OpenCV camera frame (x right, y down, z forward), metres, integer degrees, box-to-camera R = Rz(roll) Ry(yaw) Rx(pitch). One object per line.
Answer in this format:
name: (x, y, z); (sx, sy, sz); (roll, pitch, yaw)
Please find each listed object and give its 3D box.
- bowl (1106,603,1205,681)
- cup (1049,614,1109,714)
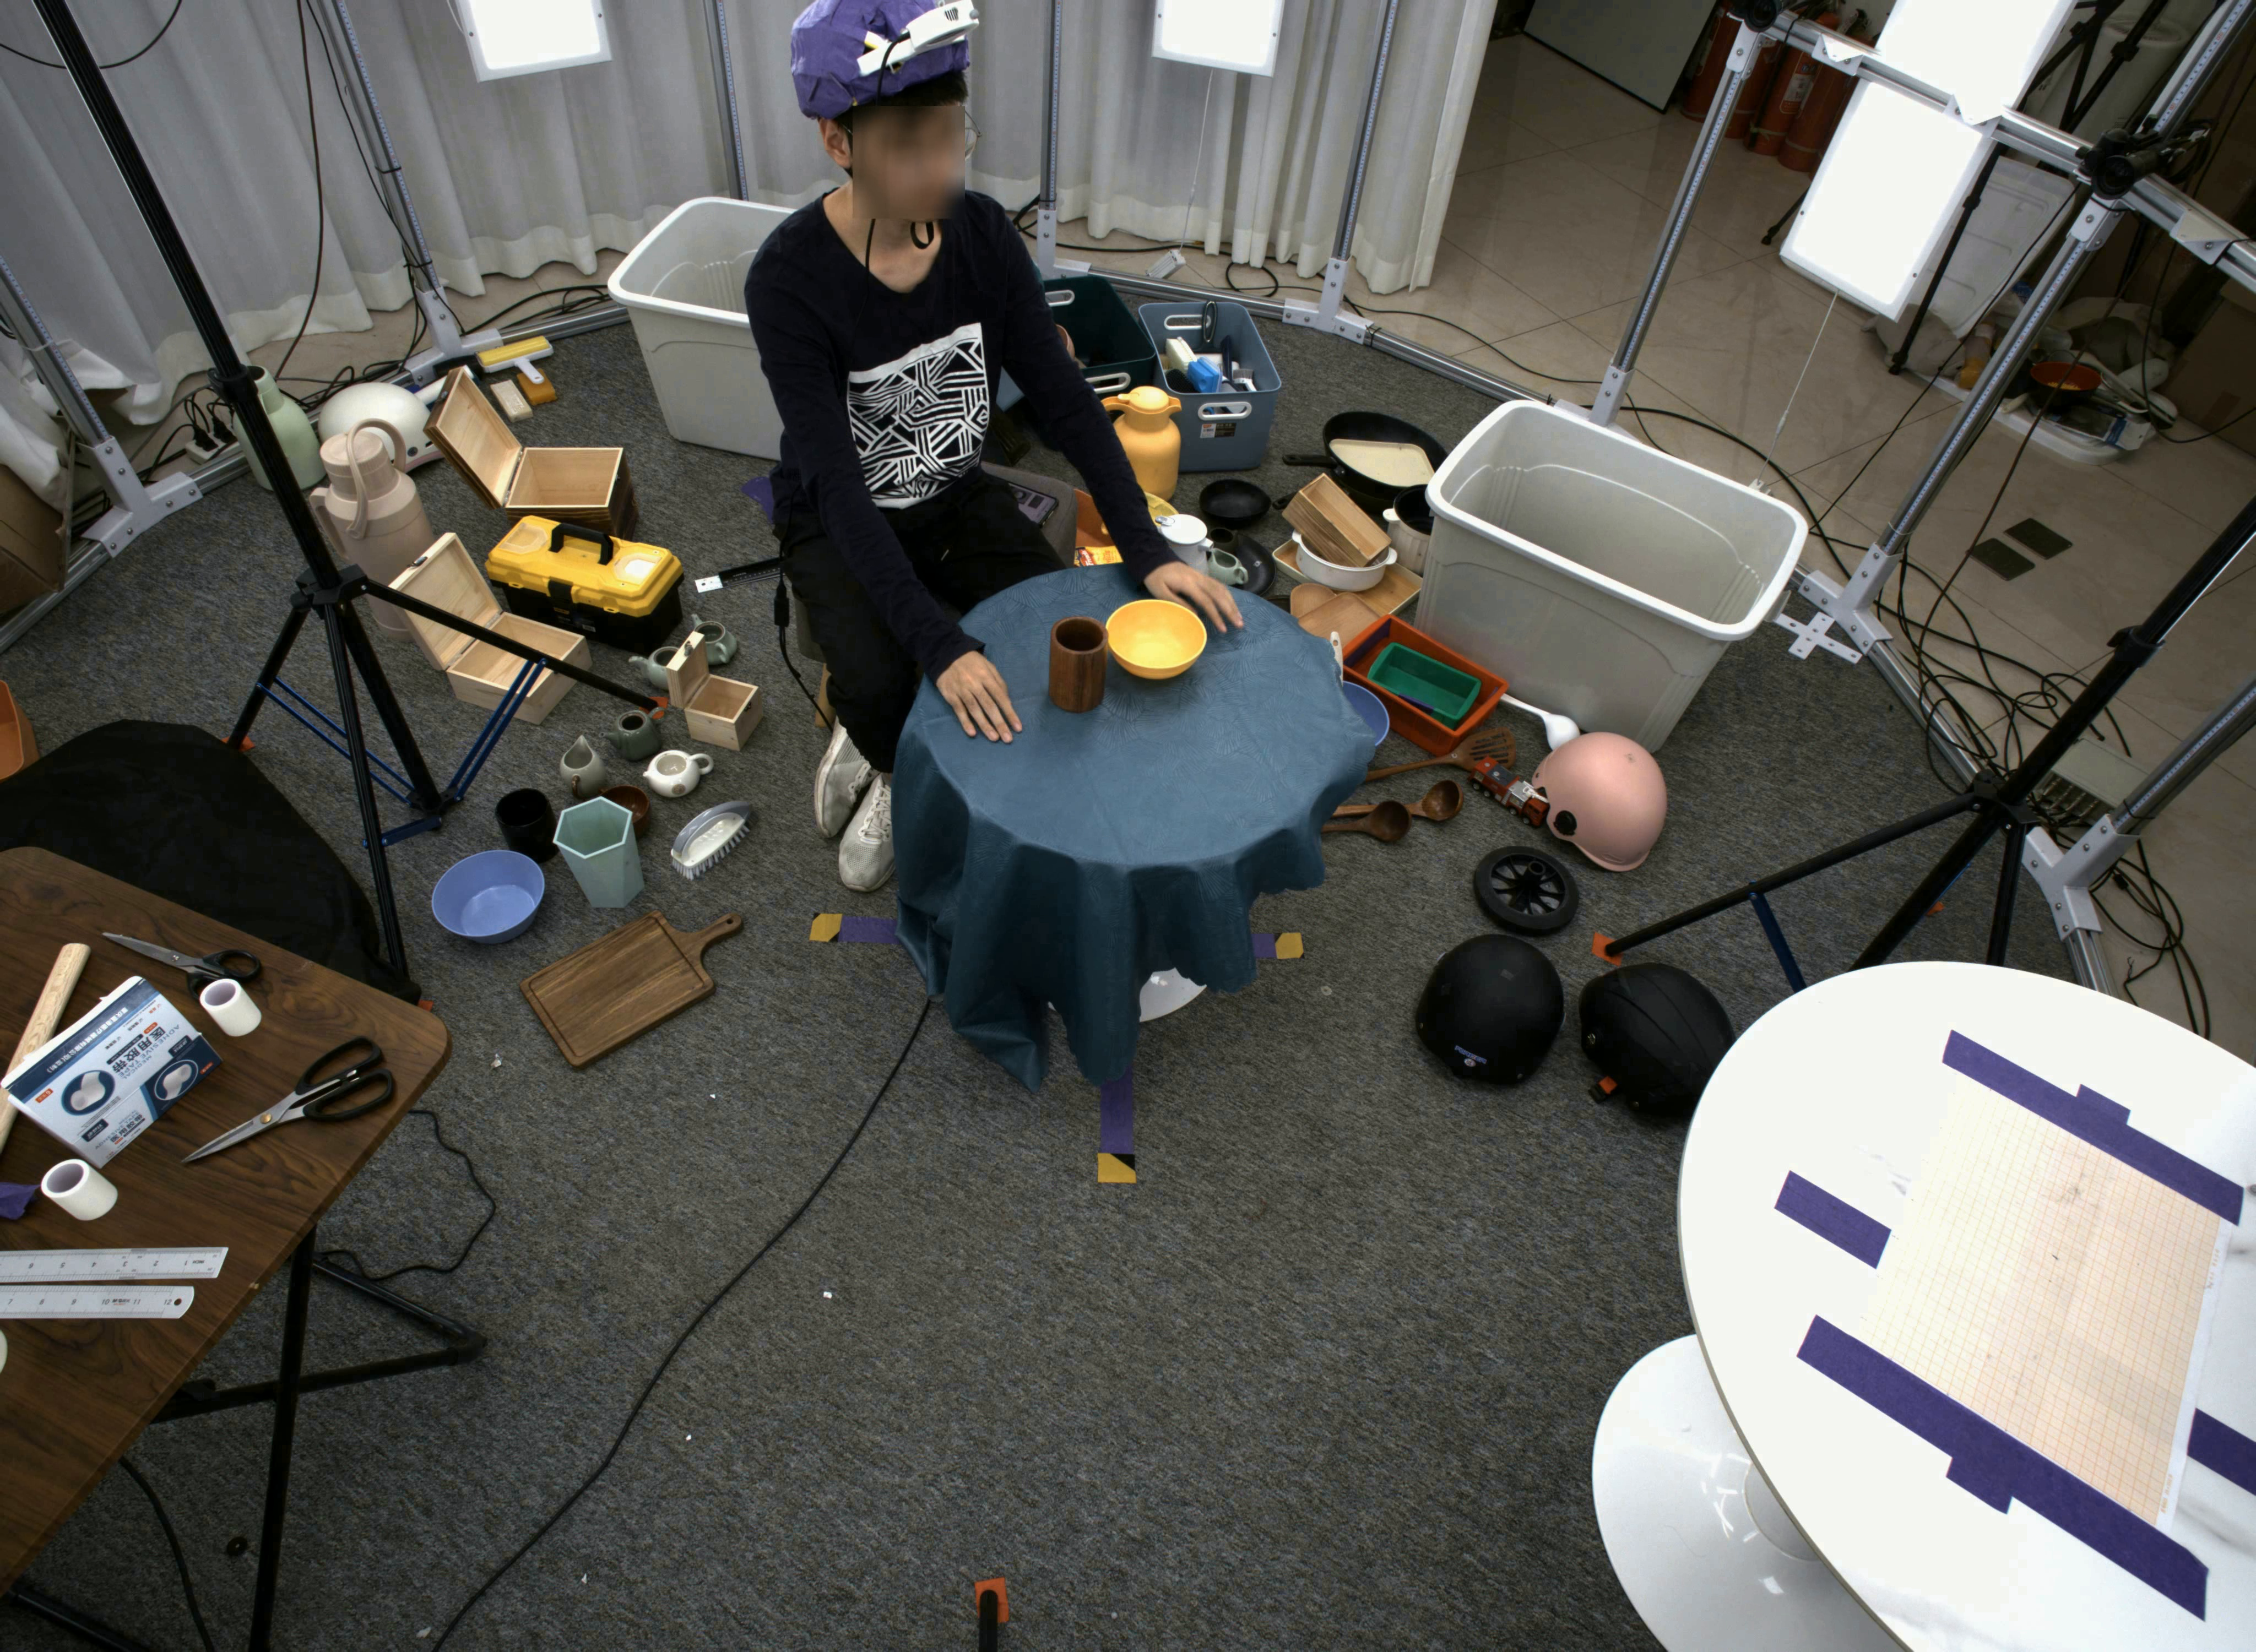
bowl: (0.038, -0.255, 1.856); (0.145, 0.058, 0.149); (1, 47, -2)
cup: (-0.070, -0.225, 1.784); (0.087, 0.115, 0.090); (3, 47, -3)
